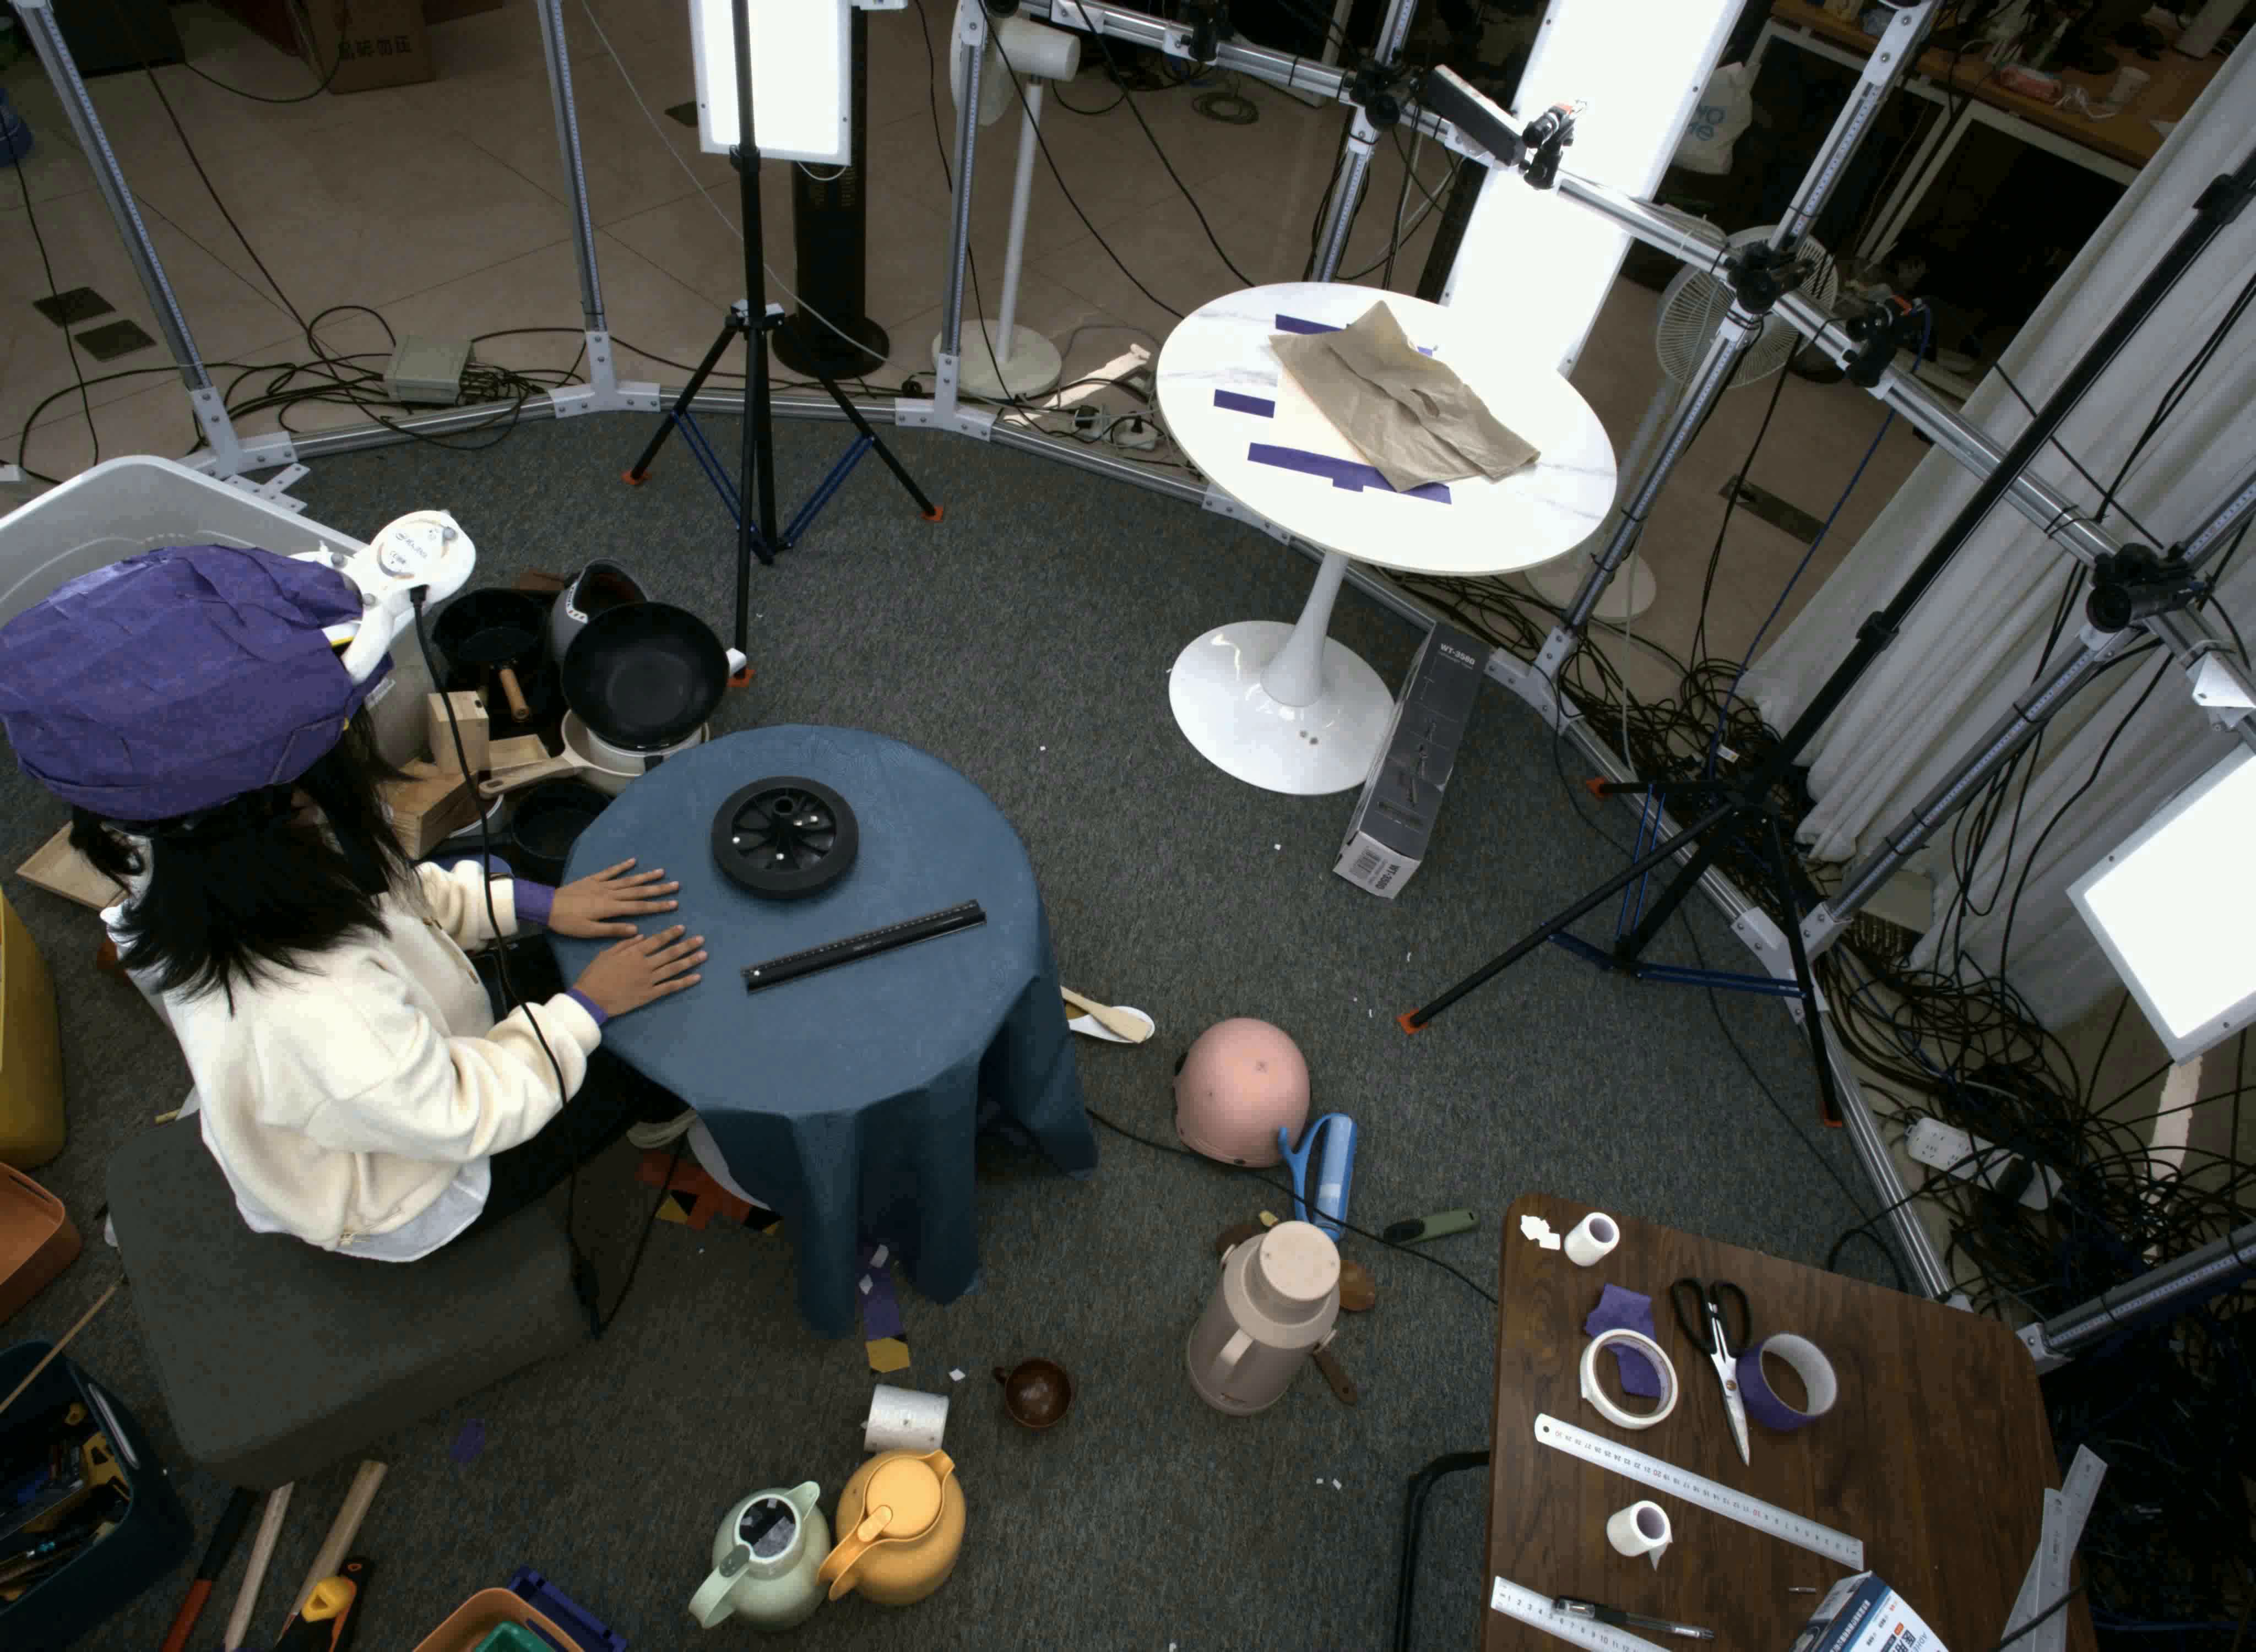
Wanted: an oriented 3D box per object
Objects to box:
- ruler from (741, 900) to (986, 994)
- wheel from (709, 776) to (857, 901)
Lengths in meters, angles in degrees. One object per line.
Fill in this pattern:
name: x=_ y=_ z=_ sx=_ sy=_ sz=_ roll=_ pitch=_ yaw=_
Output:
ruler: x=-0.327 y=0.143 z=1.627 sx=0.314 sy=0.017 sz=0.038 roll=-16 pitch=55 yaw=-24
wheel: x=-0.444 y=-0.001 z=1.665 sx=0.188 sy=0.081 sz=0.185 roll=-1 pitch=54 yaw=-15
